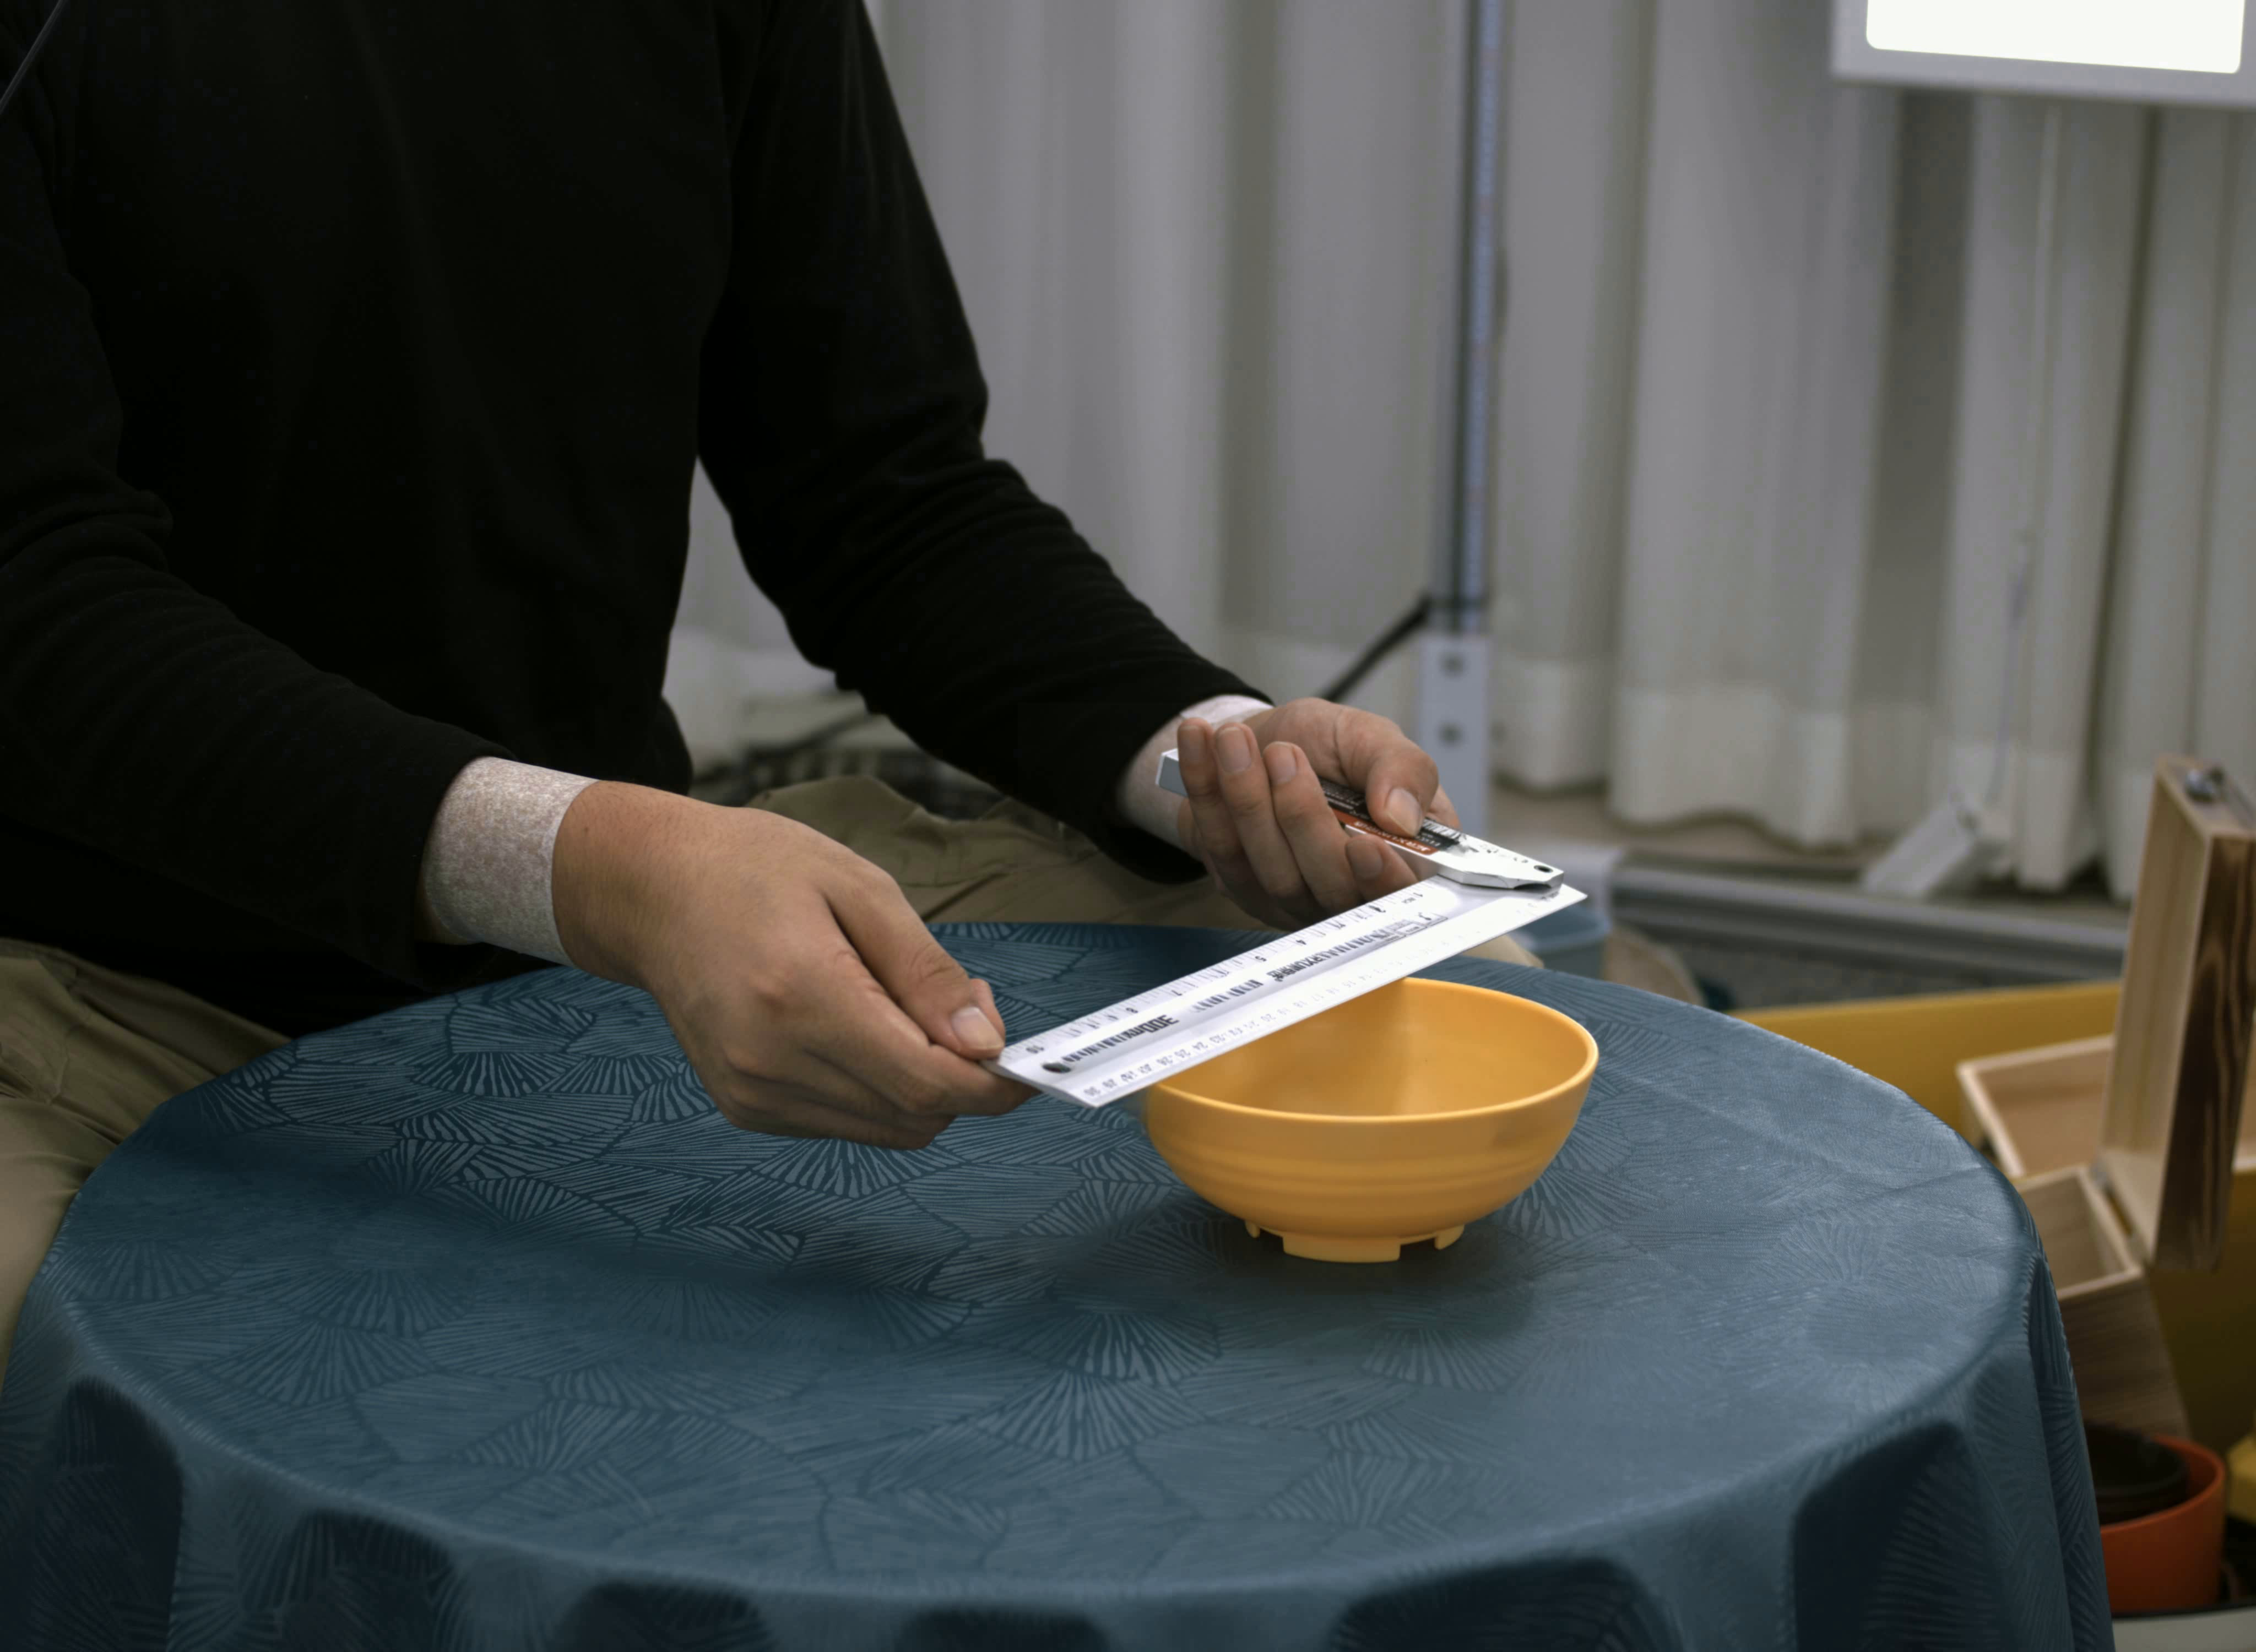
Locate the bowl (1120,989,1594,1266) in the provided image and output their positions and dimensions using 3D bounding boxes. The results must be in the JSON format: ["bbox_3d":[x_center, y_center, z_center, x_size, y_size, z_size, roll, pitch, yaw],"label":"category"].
[{"bbox_3d":[0.066,0.094,1.582,0.145,0.060,0.144,2,13,0],"label":"bowl"}]

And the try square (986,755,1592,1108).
[{"bbox_3d":[0.012,0.030,1.651,0.150,0.016,0.314,19,20,27],"label":"try square"}]
